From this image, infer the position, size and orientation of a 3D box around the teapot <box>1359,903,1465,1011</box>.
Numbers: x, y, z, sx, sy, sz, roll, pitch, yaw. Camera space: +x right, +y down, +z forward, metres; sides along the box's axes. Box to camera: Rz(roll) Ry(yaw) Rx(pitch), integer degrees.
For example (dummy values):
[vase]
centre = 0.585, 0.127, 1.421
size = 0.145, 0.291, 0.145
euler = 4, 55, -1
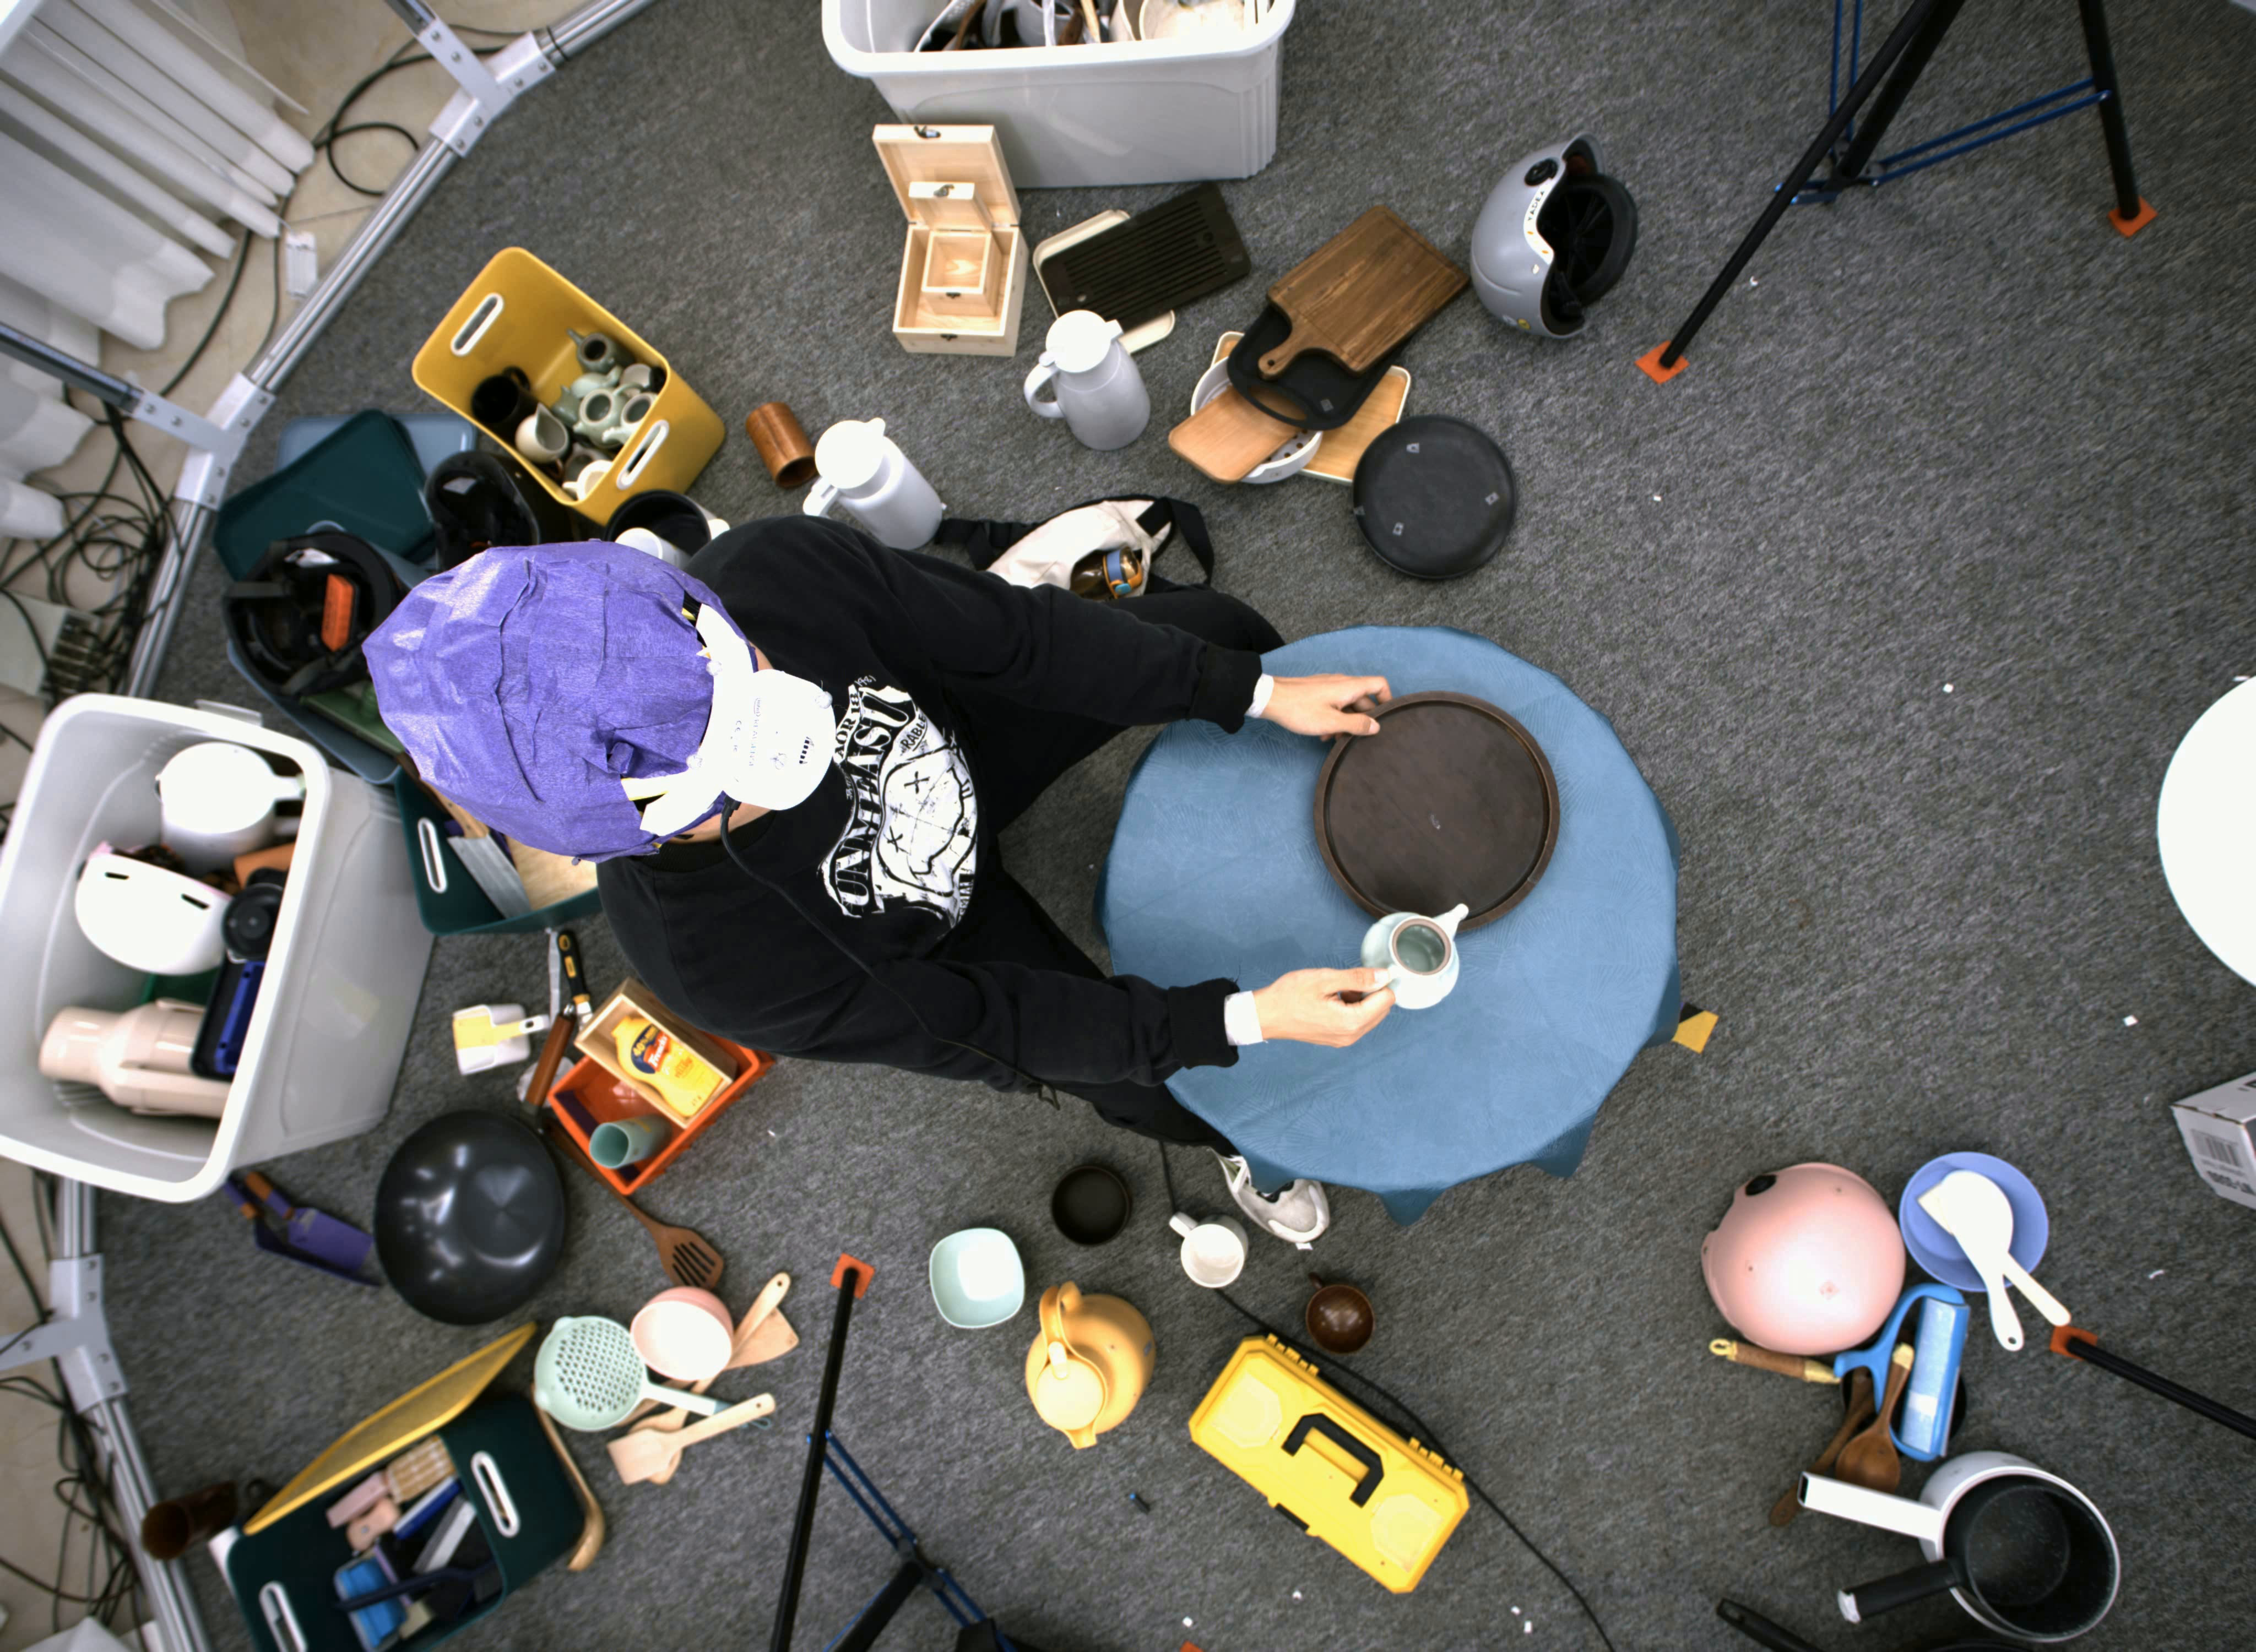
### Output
[teapot]
centre = 0.269, 0.126, 1.316
size = 0.135, 0.062, 0.095
euler = -40, 78, -19

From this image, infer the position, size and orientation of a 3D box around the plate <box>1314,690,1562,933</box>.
[plate]
centre = 0.320, -0.016, 1.430
size = 0.255, 0.029, 0.255
euler = 0, 94, 6
